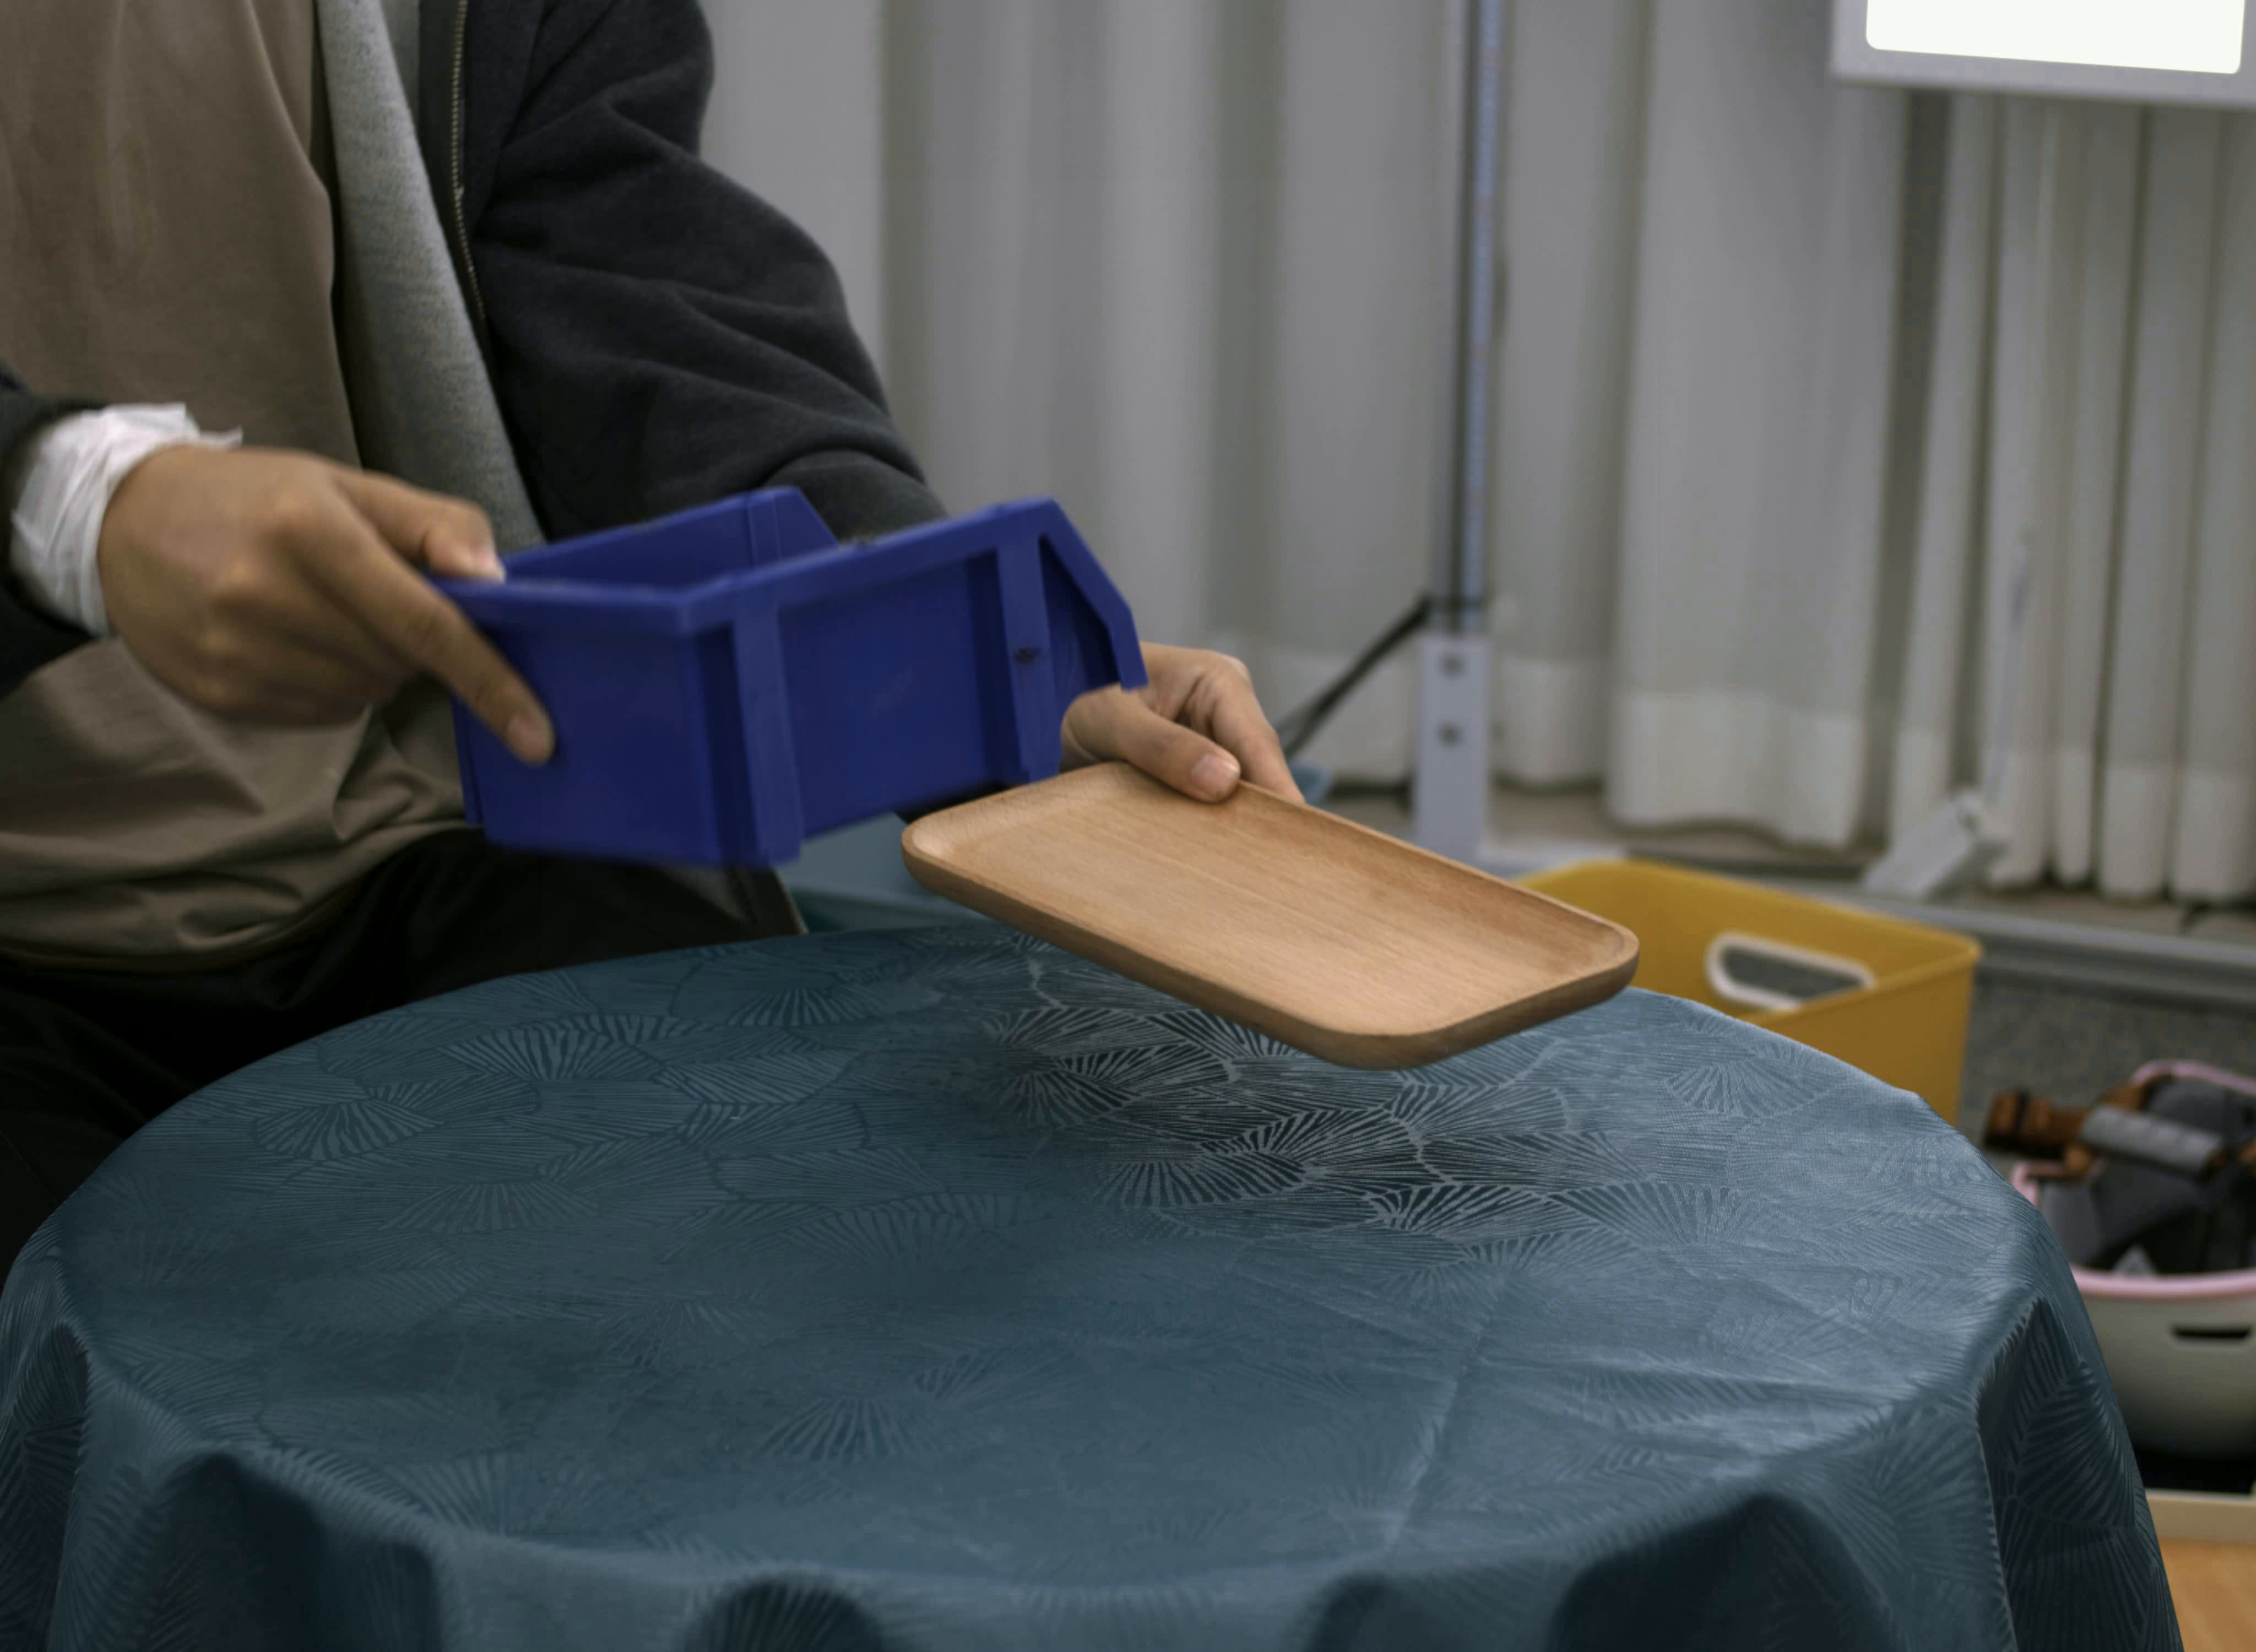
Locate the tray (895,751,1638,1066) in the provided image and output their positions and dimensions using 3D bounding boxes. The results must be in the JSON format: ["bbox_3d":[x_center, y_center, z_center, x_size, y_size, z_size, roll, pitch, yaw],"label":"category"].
[{"bbox_3d":[0.041,0.024,1.678,0.131,0.023,0.247,-14,23,-38],"label":"tray"}]

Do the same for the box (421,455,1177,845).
[{"bbox_3d":[-0.093,-0.055,1.517,0.123,0.082,0.180,6,20,44],"label":"box"}]
